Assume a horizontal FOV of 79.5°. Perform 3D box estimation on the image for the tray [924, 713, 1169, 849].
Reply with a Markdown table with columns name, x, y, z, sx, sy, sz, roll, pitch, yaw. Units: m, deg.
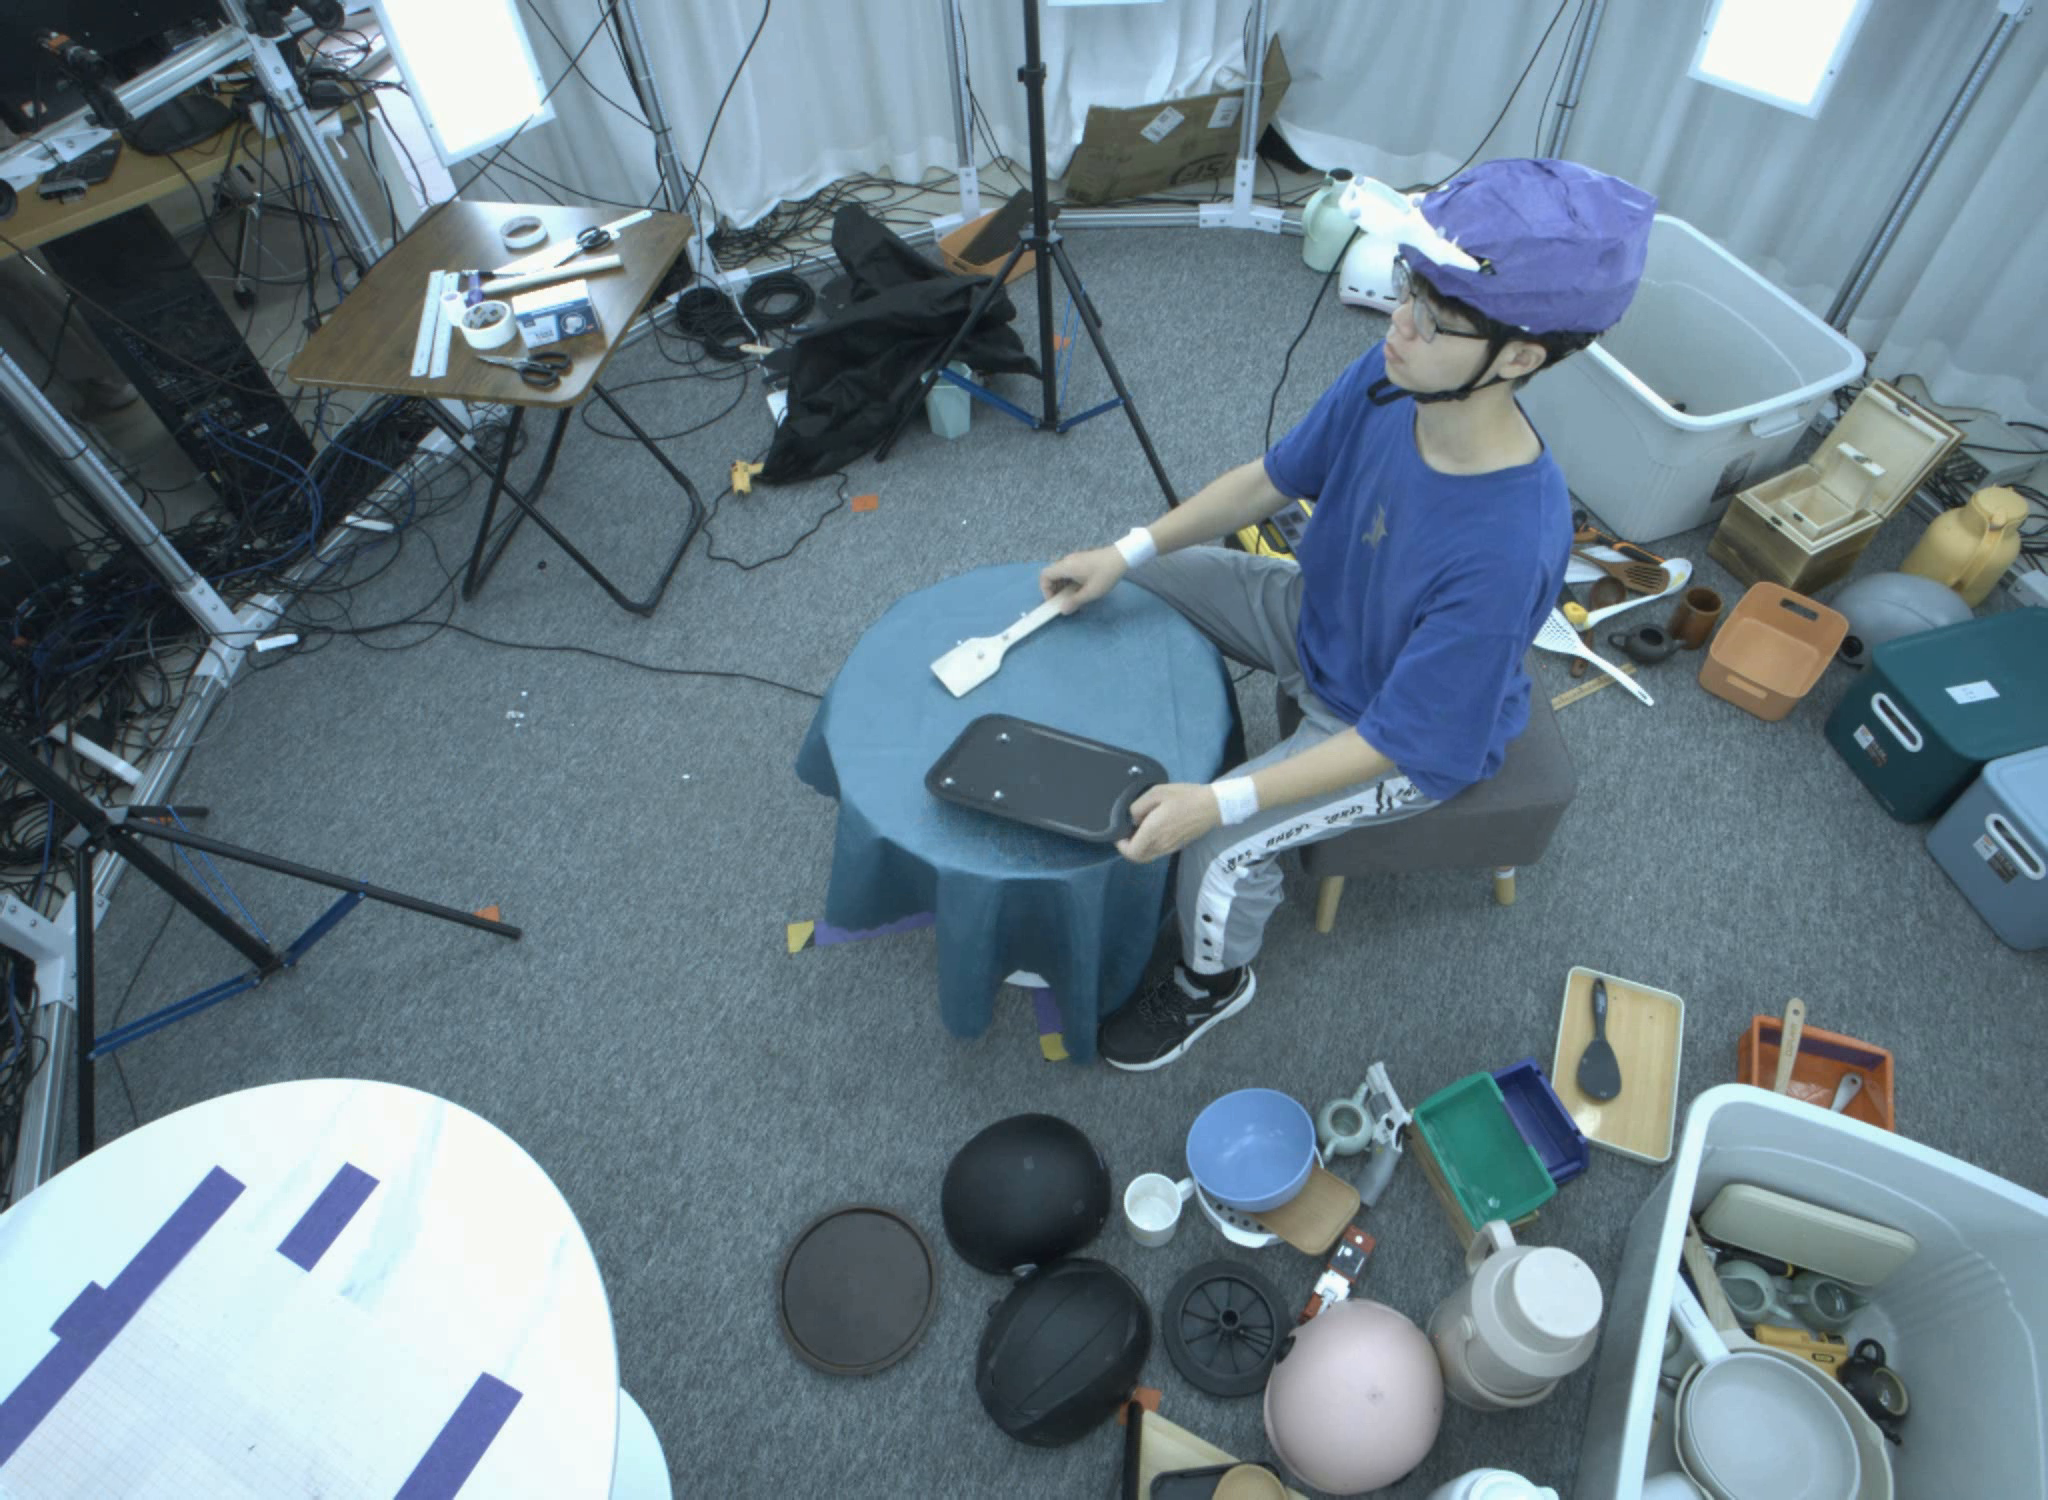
| name | x | y | z | sx | sy | sz | roll | pitch | yaw |
| --- | --- | --- | --- | --- | --- | --- | --- | --- | --- |
| tray | 0.038 | 0.039 | 1.703 | 0.321 | 0.010 | 0.212 | 17 | 42 | 19 |

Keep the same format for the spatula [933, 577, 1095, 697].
| name | x | y | z | sx | sy | sz | roll | pitch | yaw |
| --- | --- | --- | --- | --- | --- | --- | --- | --- | --- |
| spatula | -0.007 | -0.184 | 1.890 | 0.295 | 0.011 | 0.071 | -36 | 73 | -18 |
